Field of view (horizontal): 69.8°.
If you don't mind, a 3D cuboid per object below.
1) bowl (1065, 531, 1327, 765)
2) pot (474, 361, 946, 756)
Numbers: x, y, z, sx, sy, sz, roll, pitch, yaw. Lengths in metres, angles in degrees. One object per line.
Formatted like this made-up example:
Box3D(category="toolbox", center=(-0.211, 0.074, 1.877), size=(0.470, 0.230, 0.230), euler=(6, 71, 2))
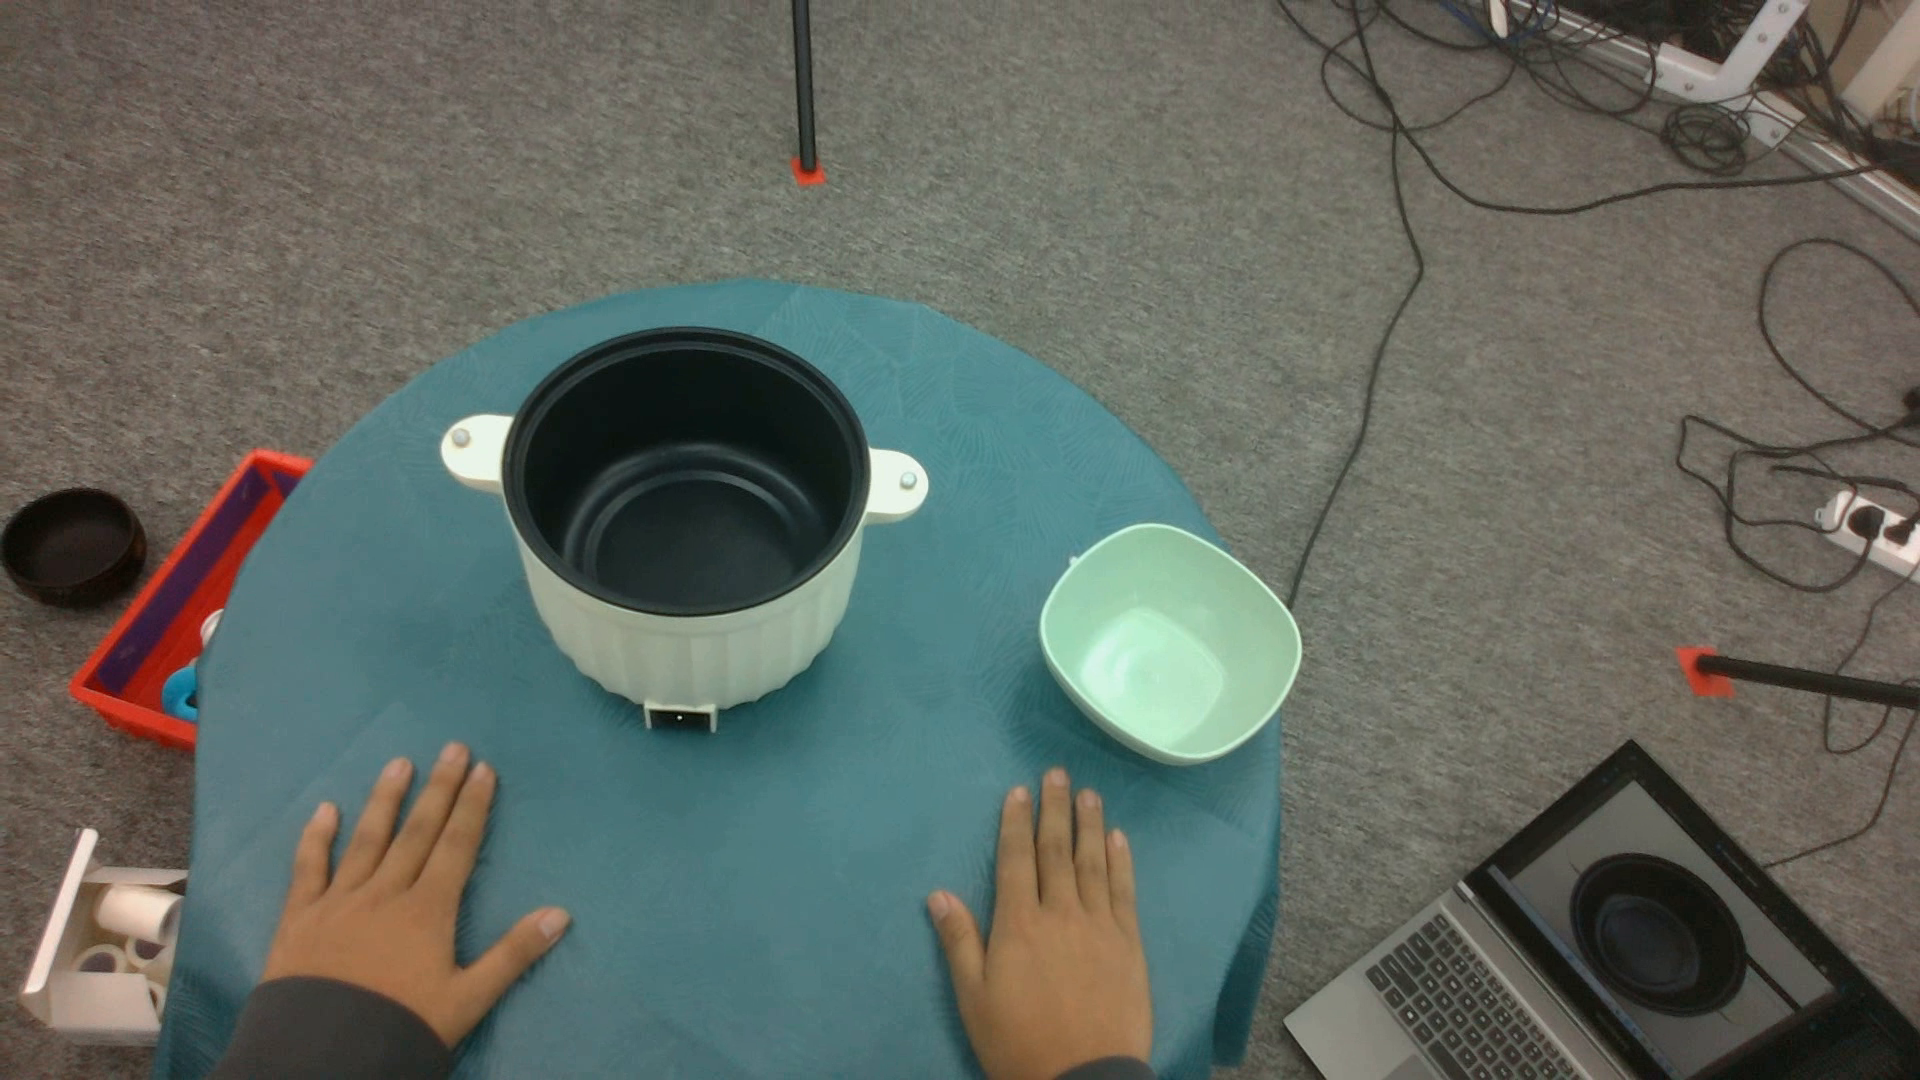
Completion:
Box3D(category="bowl", center=(0.133, 0.071, 0.802), size=(0.151, 0.058, 0.152), euler=(2, 54, -3))
Box3D(category="pot", center=(-0.134, 0.008, 0.765), size=(0.240, 0.142, 0.191), euler=(1, 58, -8))
